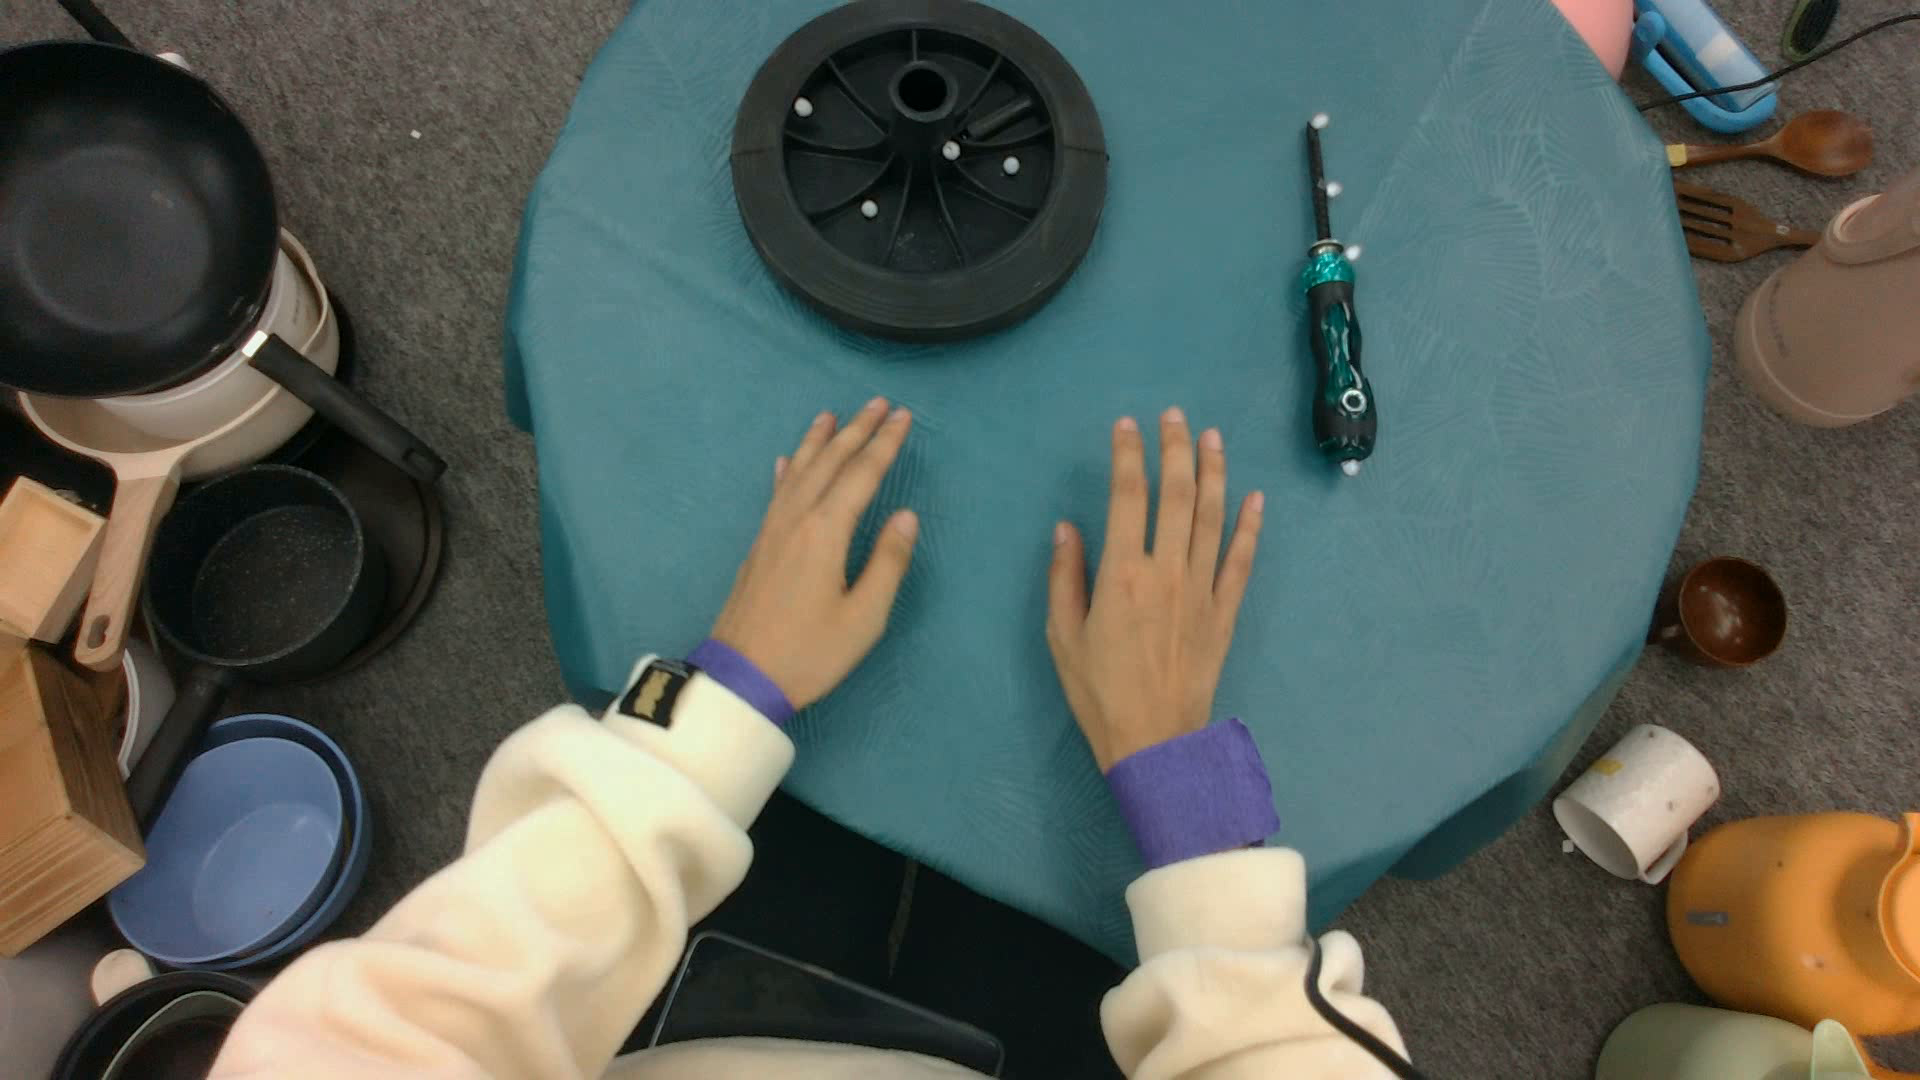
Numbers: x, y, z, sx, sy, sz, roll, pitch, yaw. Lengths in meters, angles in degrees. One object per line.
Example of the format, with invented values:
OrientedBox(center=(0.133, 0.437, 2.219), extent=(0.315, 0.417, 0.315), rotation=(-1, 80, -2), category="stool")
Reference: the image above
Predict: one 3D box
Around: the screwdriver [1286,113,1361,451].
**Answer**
OrientedBox(center=(0.178, -0.135, 0.696), extent=(0.034, 0.033, 0.190), rotation=(0, 70, -2), category="screwdriver")

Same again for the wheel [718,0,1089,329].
OrientedBox(center=(-0.025, -0.201, 0.675), extent=(0.187, 0.079, 0.190), rotation=(33, 70, 6), category="wheel")
